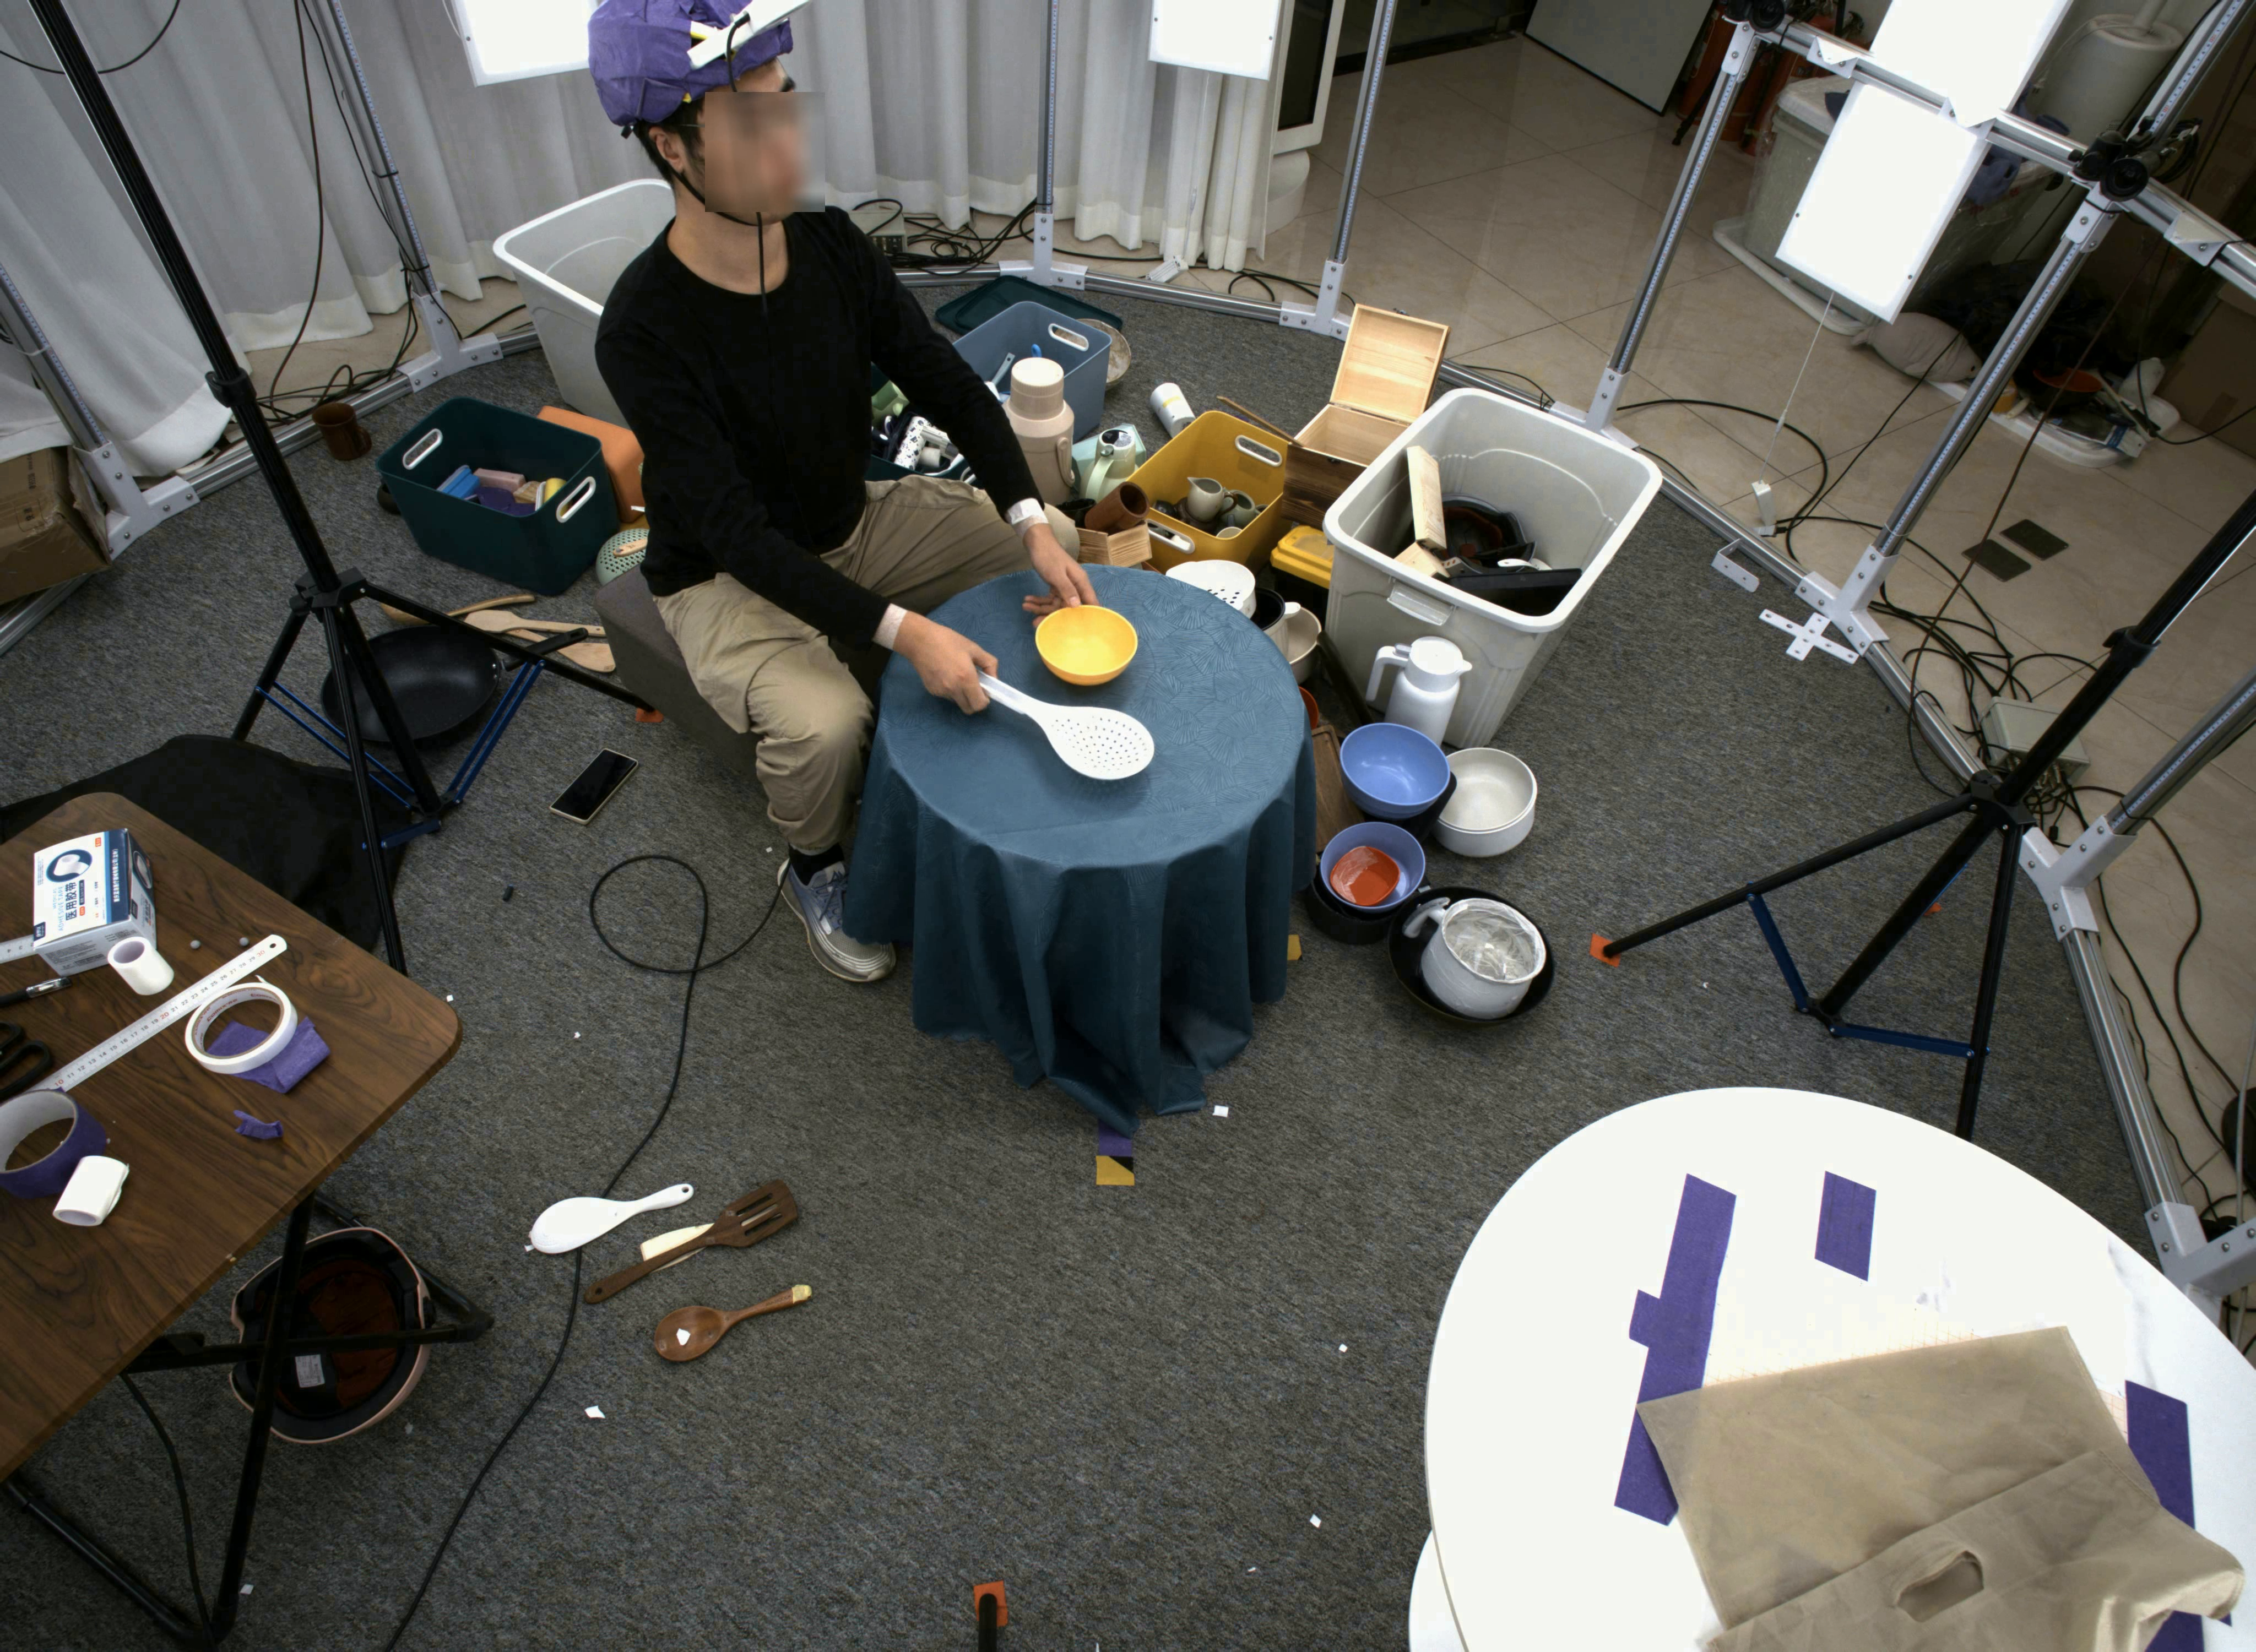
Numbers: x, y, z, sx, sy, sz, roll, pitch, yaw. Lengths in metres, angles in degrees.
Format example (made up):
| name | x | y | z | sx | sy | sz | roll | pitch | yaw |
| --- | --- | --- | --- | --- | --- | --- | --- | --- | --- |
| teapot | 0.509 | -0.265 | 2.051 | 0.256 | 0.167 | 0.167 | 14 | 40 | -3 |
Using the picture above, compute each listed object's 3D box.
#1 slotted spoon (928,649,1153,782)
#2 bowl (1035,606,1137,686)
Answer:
| name | x | y | z | sx | sy | sz | roll | pitch | yaw |
| --- | --- | --- | --- | --- | --- | --- | --- | --- | --- |
| slotted spoon | -0.126 | -0.156 | 1.748 | 0.352 | 0.045 | 0.138 | 32 | 50 | 13 |
| bowl | -0.062 | -0.247 | 1.844 | 0.145 | 0.059 | 0.149 | 3 | 49 | -4 |
